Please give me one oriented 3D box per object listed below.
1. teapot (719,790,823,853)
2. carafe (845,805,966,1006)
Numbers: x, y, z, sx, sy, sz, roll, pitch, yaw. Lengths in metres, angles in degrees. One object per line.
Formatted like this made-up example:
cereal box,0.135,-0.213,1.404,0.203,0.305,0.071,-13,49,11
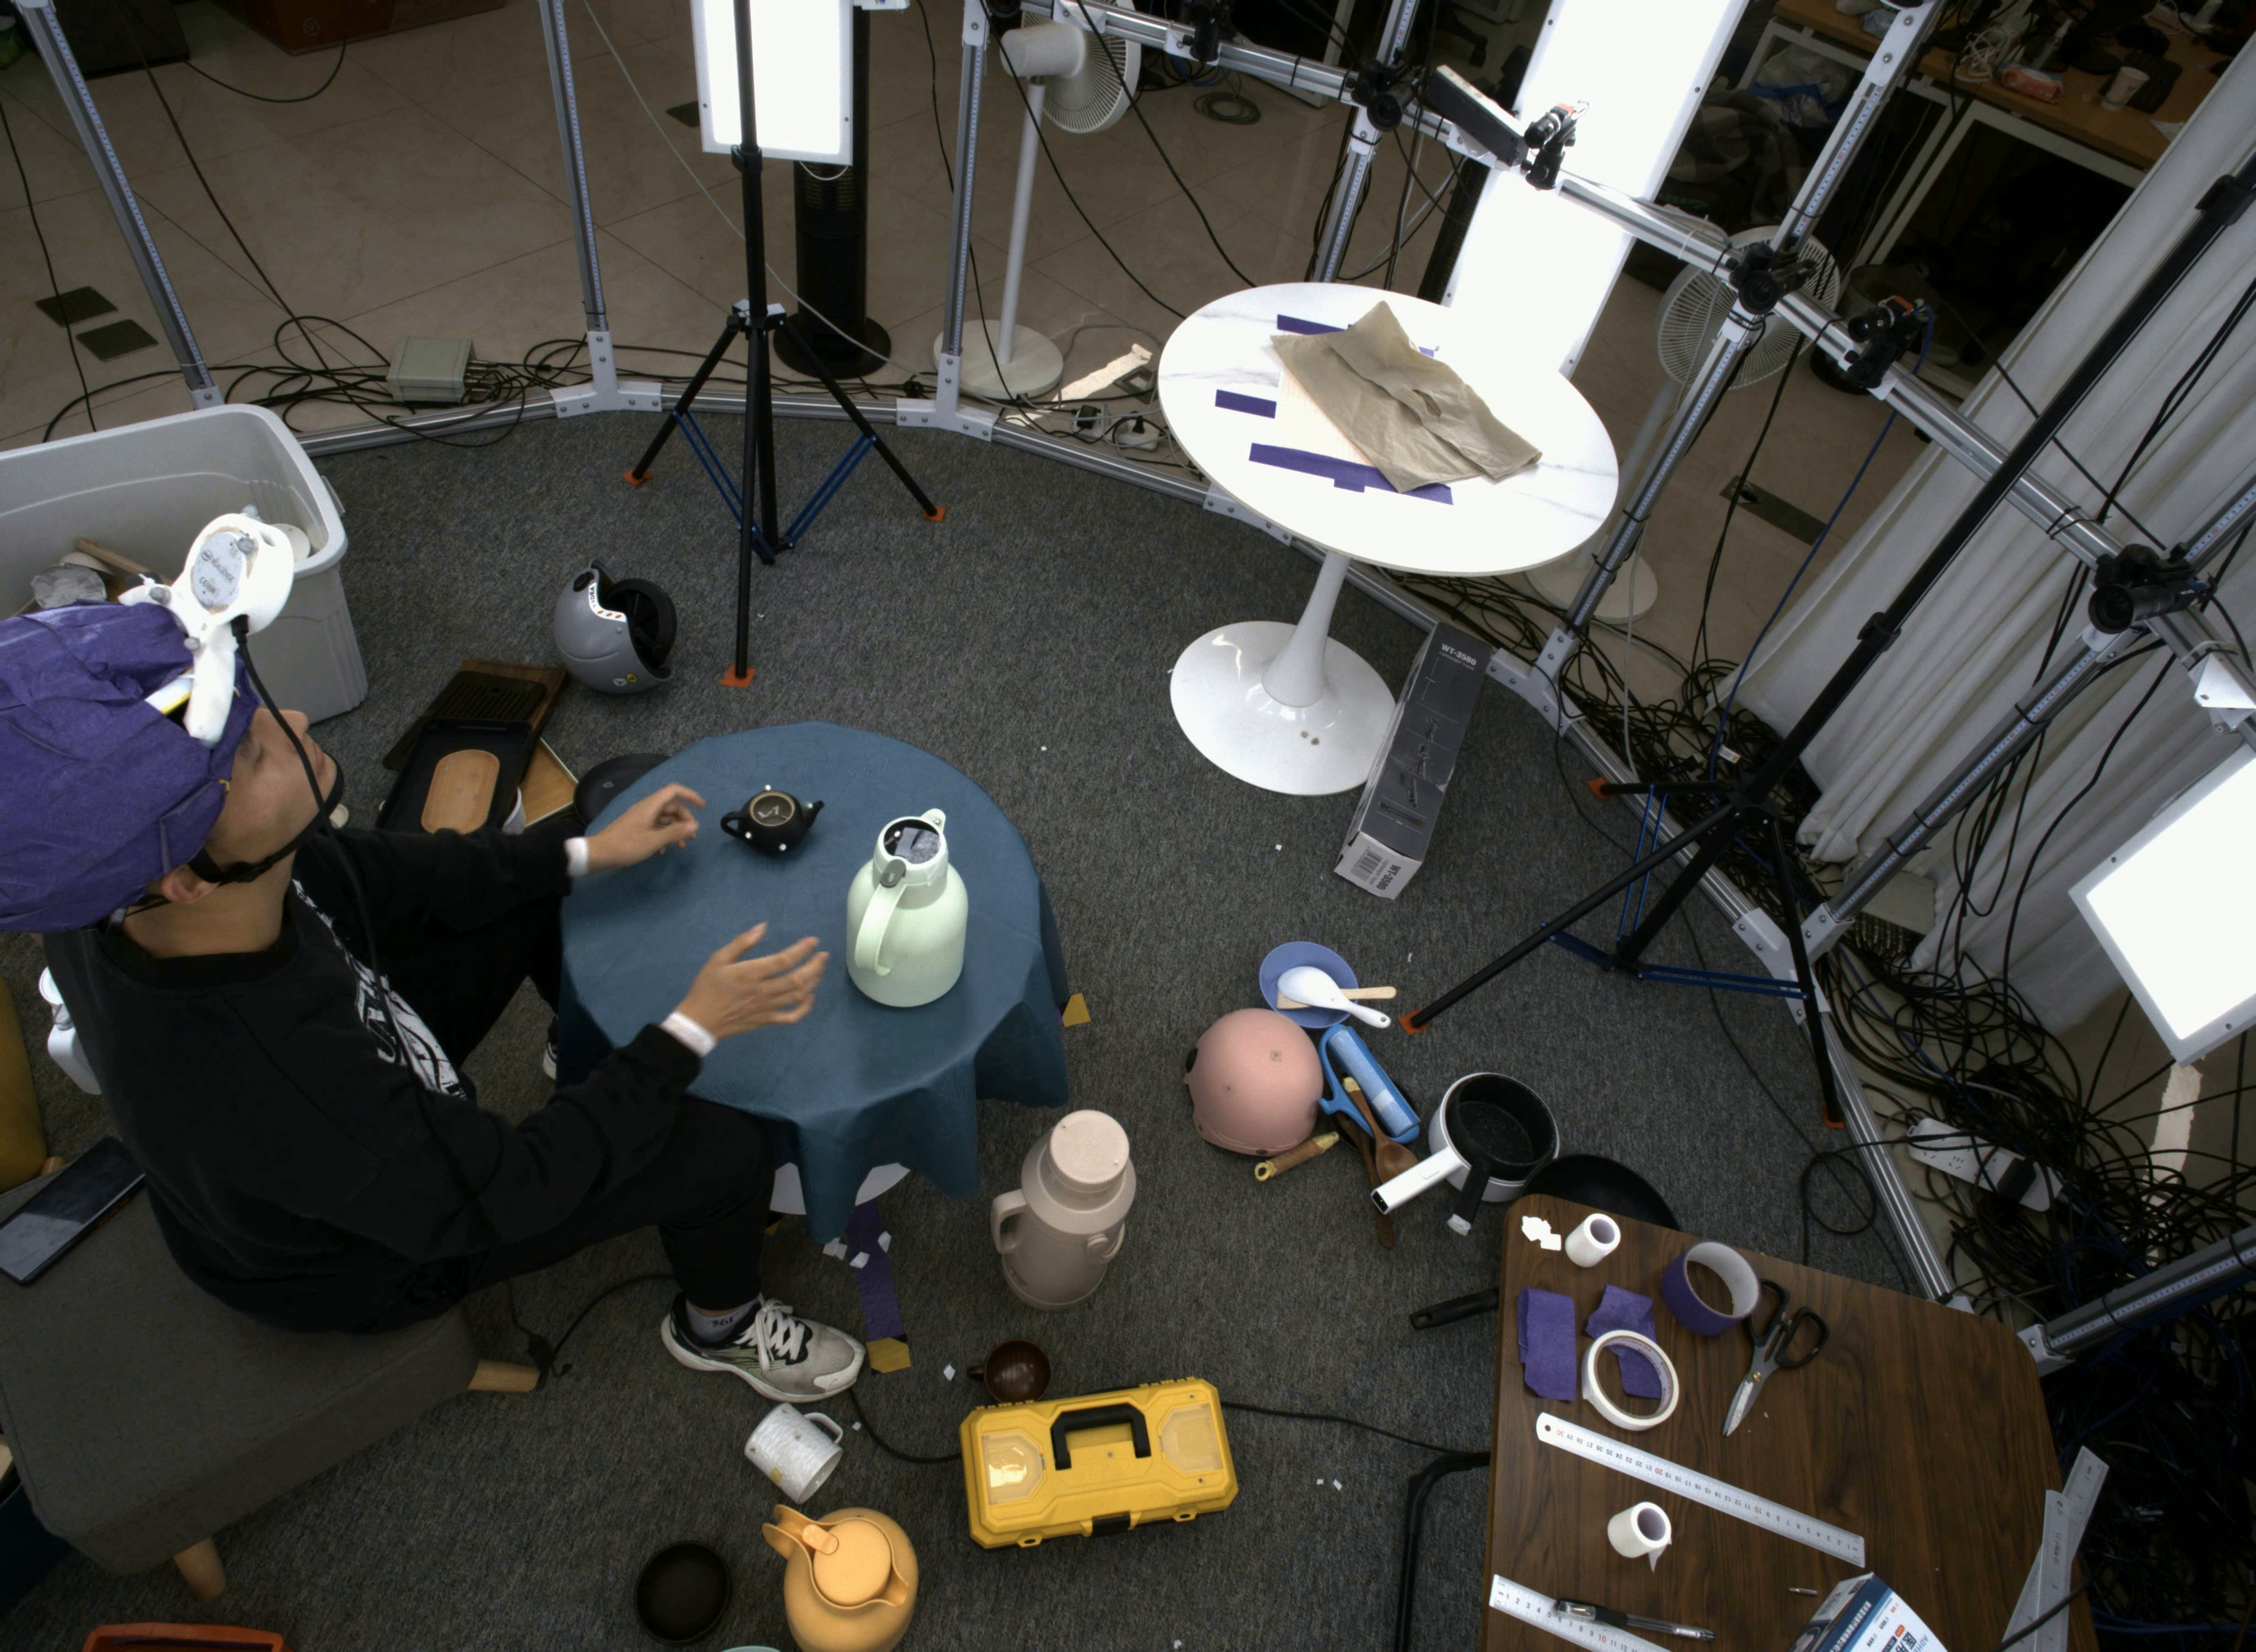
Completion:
teapot,-0.463,-0.008,1.683,0.134,0.054,0.088,-8,54,-20
carafe,-0.266,0.101,1.526,0.143,0.262,0.185,21,54,3
